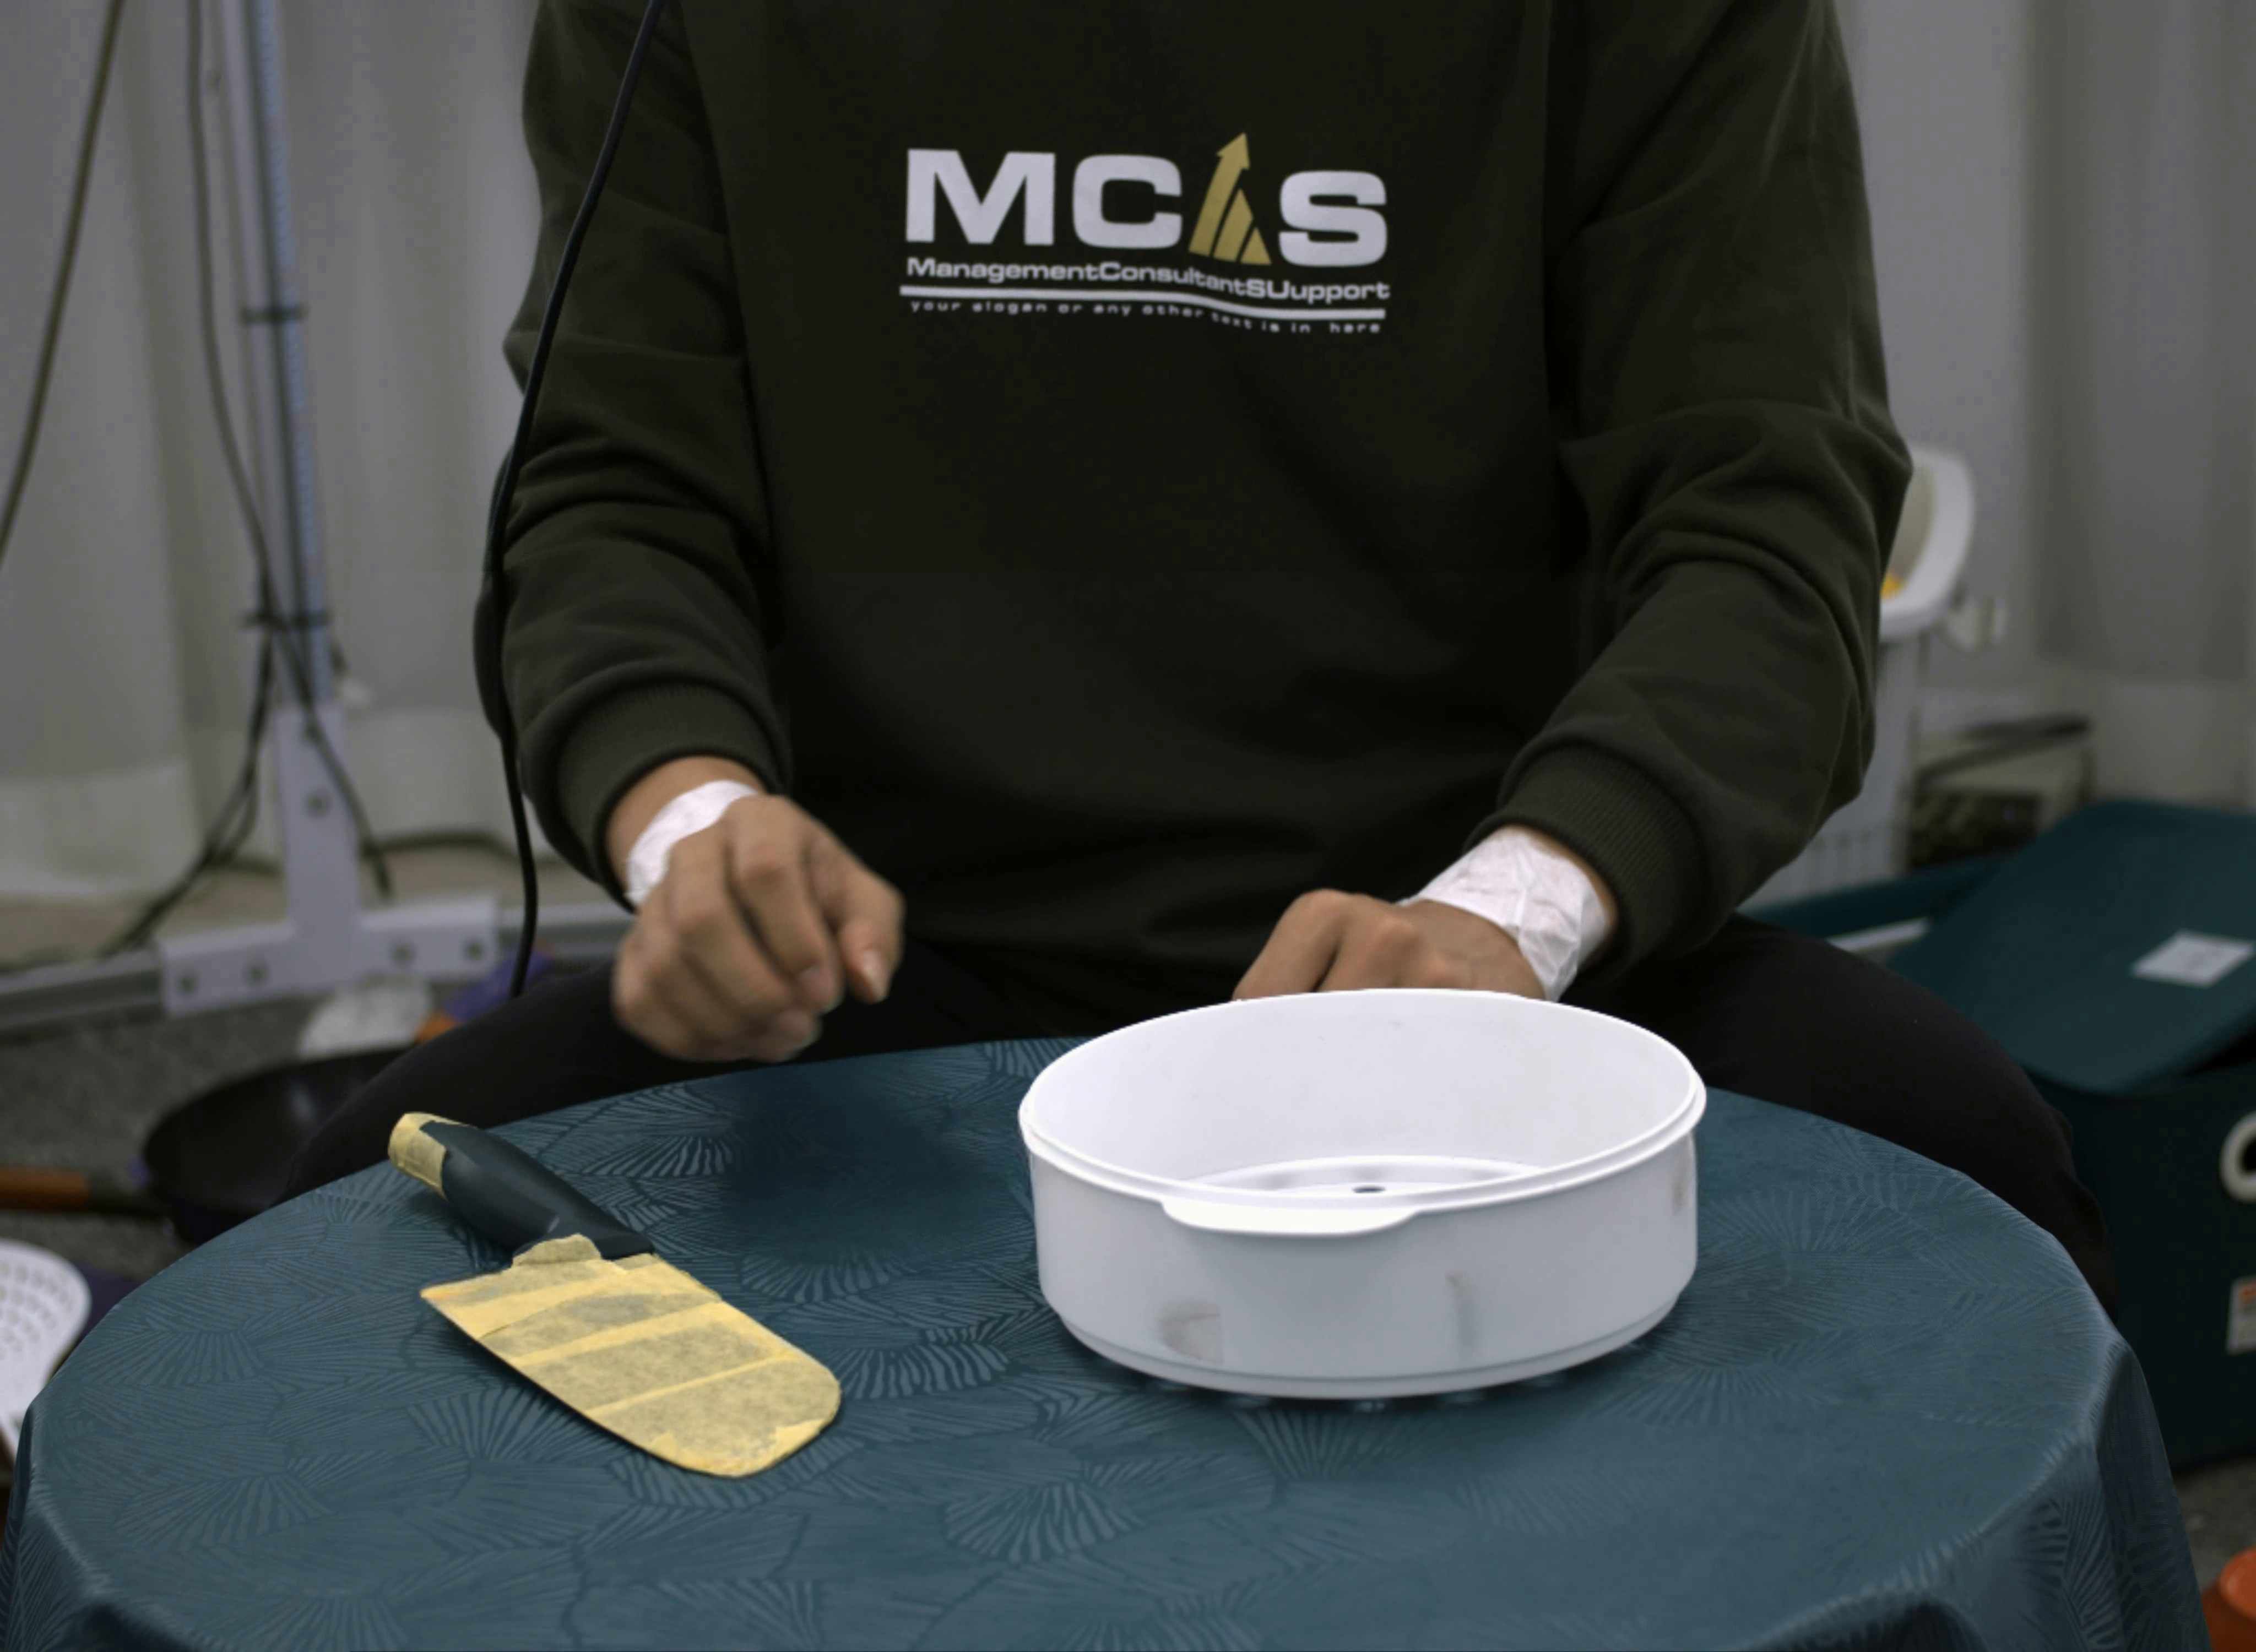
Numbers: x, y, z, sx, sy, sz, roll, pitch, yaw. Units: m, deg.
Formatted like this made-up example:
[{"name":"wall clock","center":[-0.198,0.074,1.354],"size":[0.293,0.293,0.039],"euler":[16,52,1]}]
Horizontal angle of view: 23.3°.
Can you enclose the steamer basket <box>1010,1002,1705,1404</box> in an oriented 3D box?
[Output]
[{"name":"steamer basket","center":[0.067,0.109,1.595],"size":[0.202,0.069,0.231],"euler":[2,14,15]}]

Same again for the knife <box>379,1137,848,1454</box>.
[{"name":"knife","center":[-0.167,0.140,1.623],"size":[0.080,0.027,0.292],"euler":[-8,17,-29]}]
